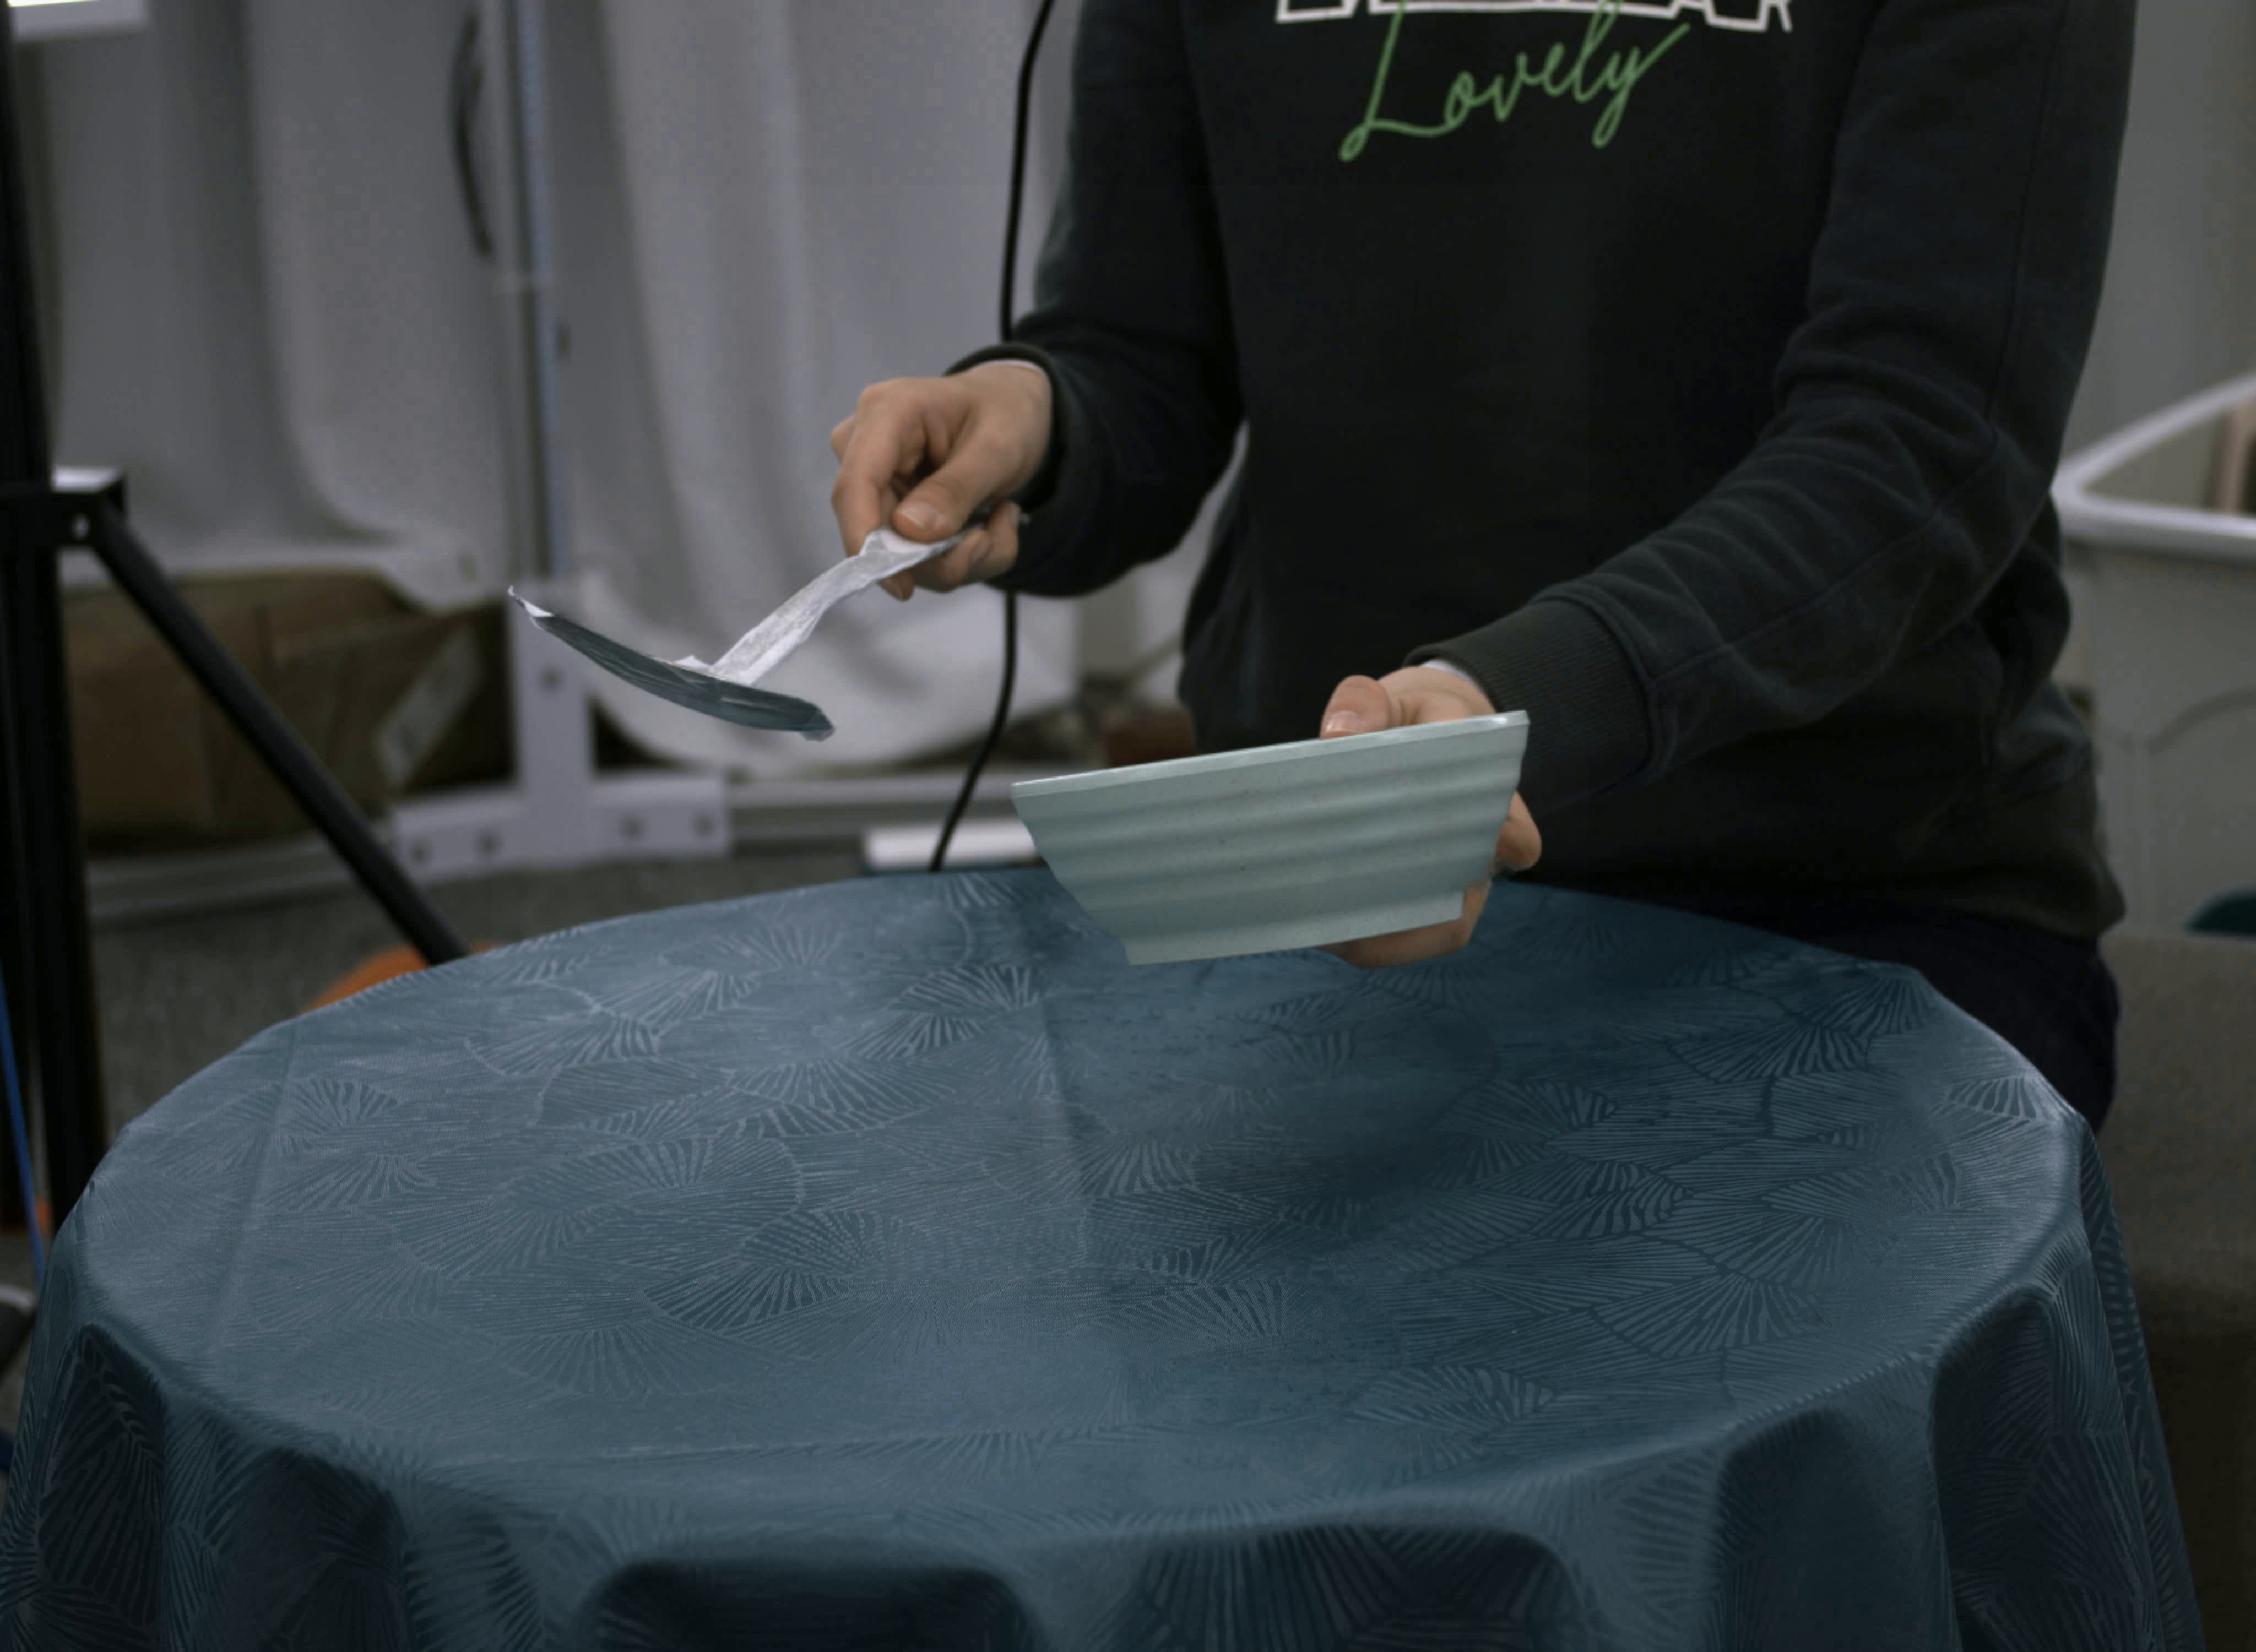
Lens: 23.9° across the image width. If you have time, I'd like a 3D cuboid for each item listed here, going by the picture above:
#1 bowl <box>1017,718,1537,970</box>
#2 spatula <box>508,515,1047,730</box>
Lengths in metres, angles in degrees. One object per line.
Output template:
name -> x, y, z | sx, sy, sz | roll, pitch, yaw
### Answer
bowl -> 0.046, 0.007, 1.531 | 0.150, 0.059, 0.151 | -7, 3, -1
spatula -> -0.089, -0.077, 1.688 | 0.099, 0.045, 0.361 | 17, 19, 14
